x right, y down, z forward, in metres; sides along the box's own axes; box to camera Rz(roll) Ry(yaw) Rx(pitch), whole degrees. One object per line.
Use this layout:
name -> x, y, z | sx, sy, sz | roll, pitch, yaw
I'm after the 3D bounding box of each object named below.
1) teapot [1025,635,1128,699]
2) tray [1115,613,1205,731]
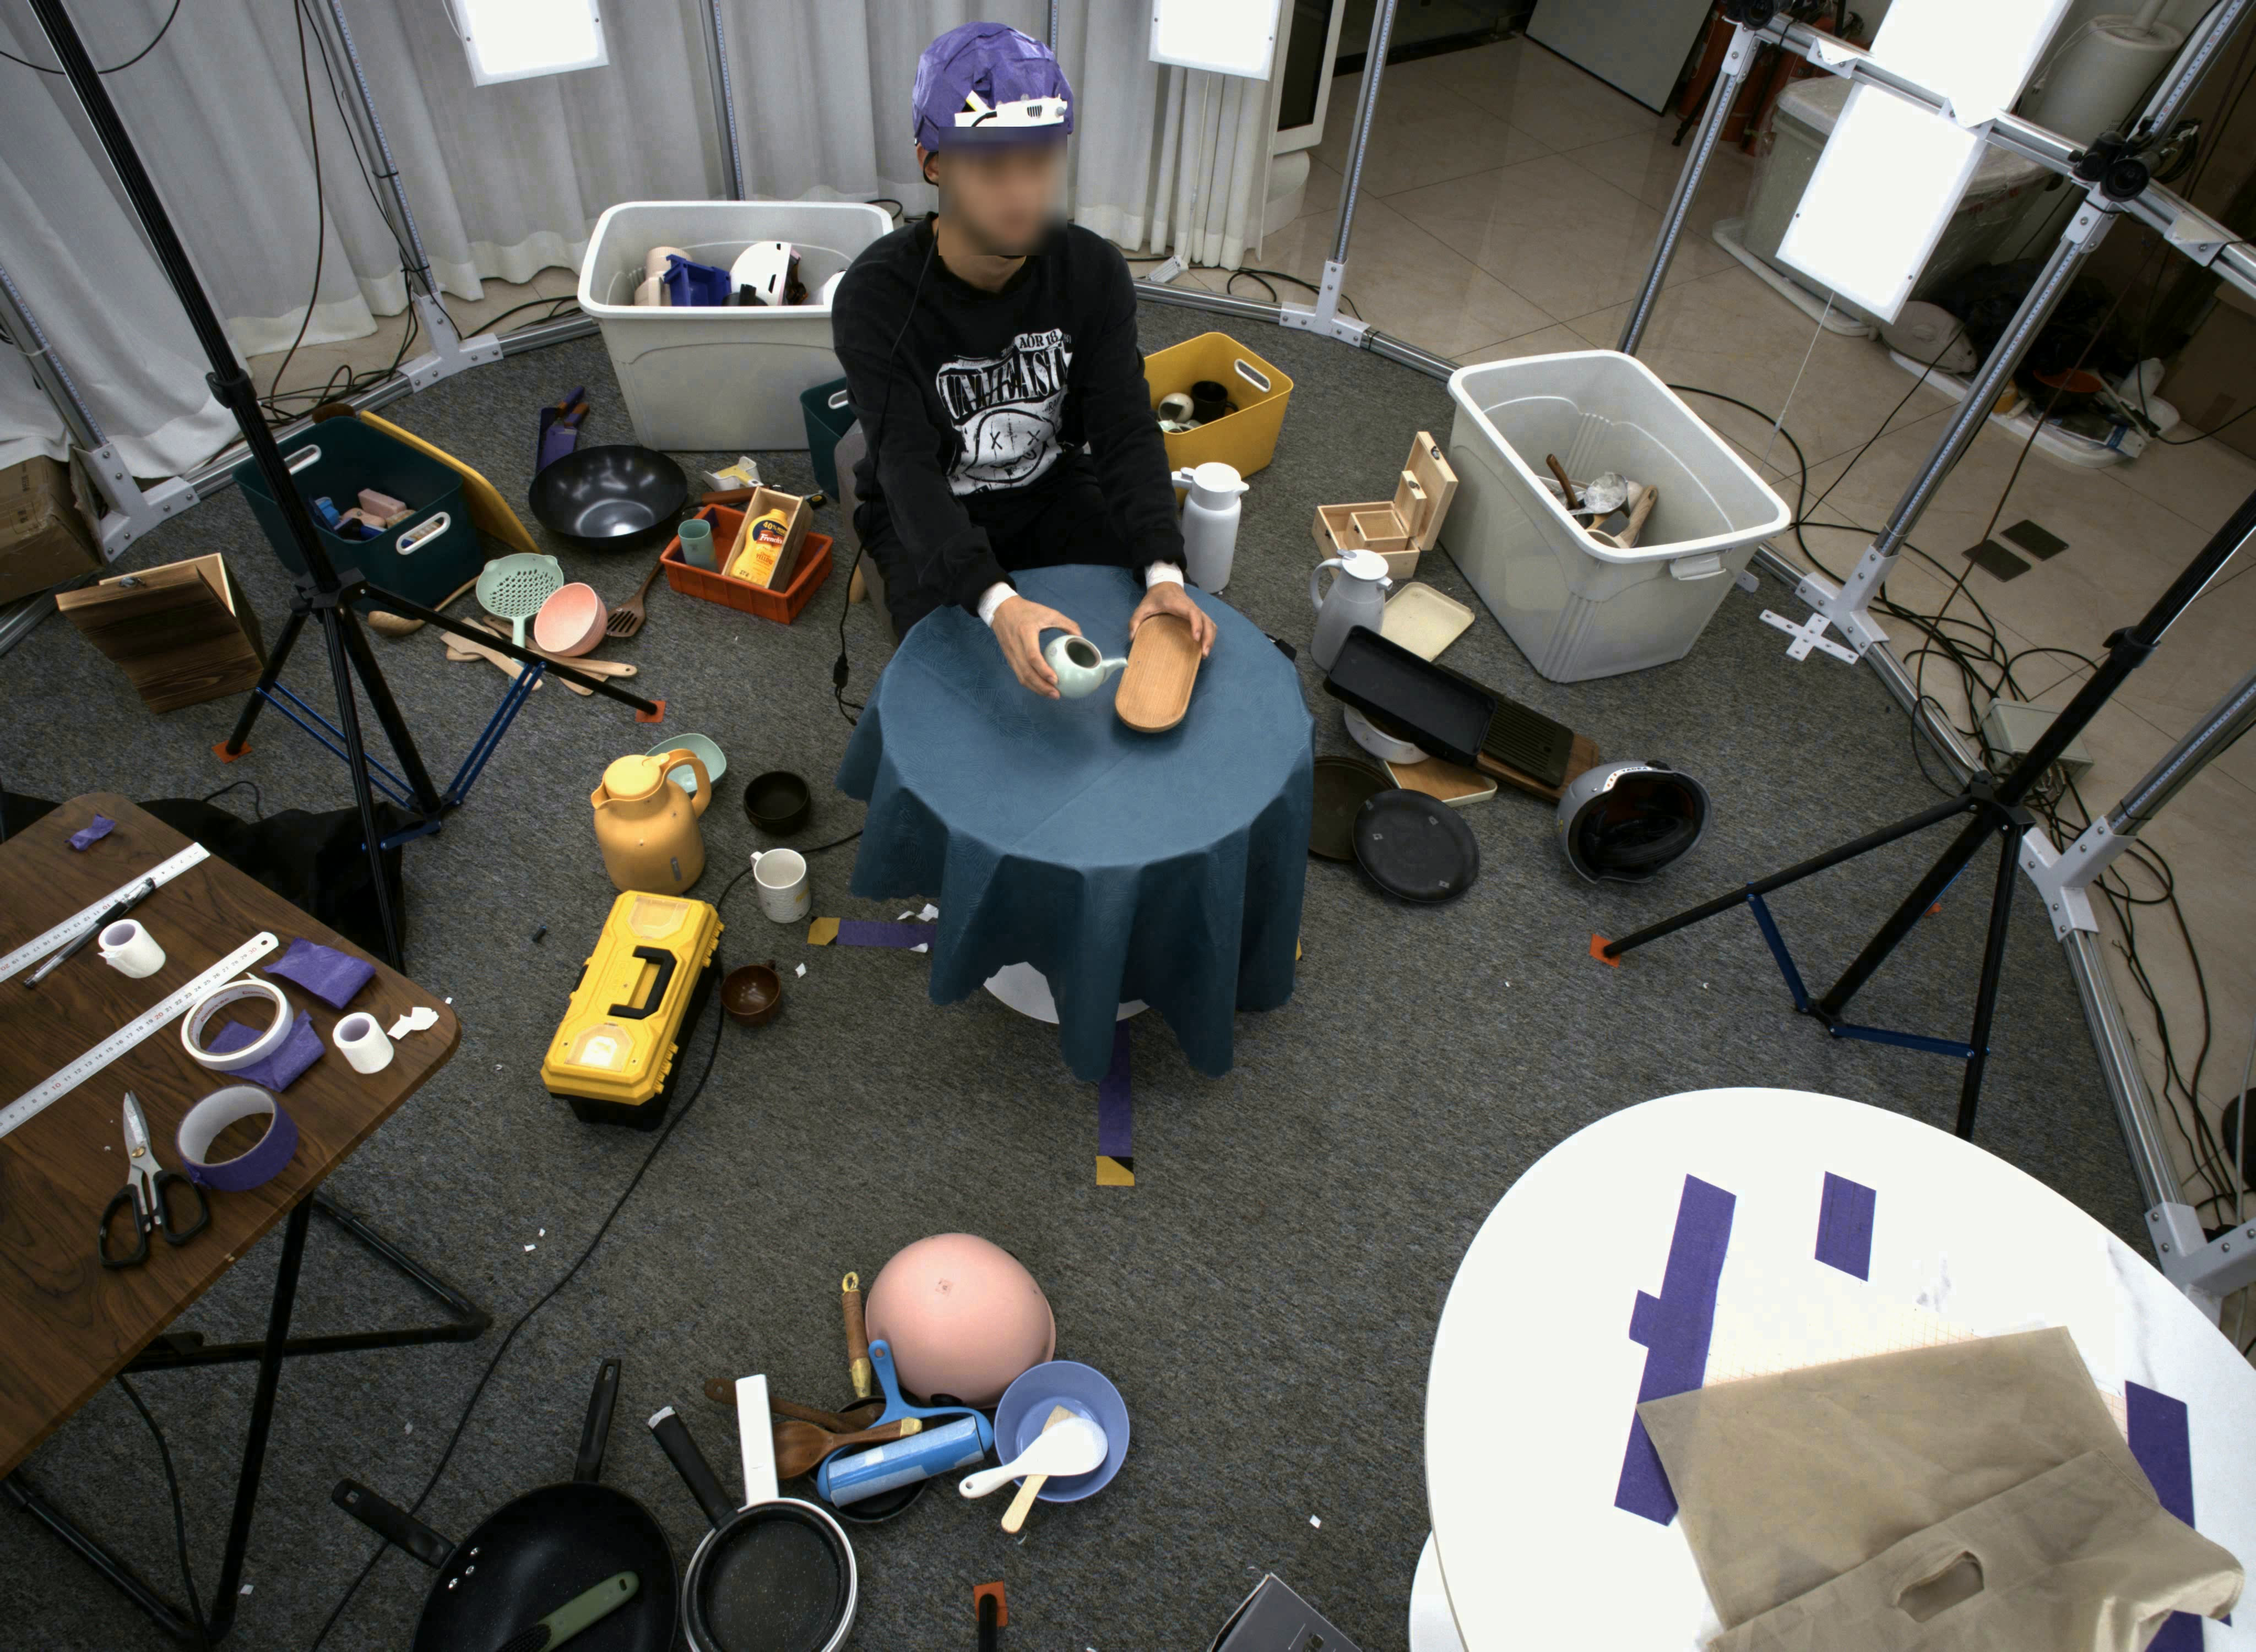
teapot -> -0.076, -0.214, 1.724 | 0.142, 0.073, 0.090 | 13, 49, -28
tray -> 0.047, -0.222, 1.826 | 0.102, 0.020, 0.236 | 10, 50, 7
